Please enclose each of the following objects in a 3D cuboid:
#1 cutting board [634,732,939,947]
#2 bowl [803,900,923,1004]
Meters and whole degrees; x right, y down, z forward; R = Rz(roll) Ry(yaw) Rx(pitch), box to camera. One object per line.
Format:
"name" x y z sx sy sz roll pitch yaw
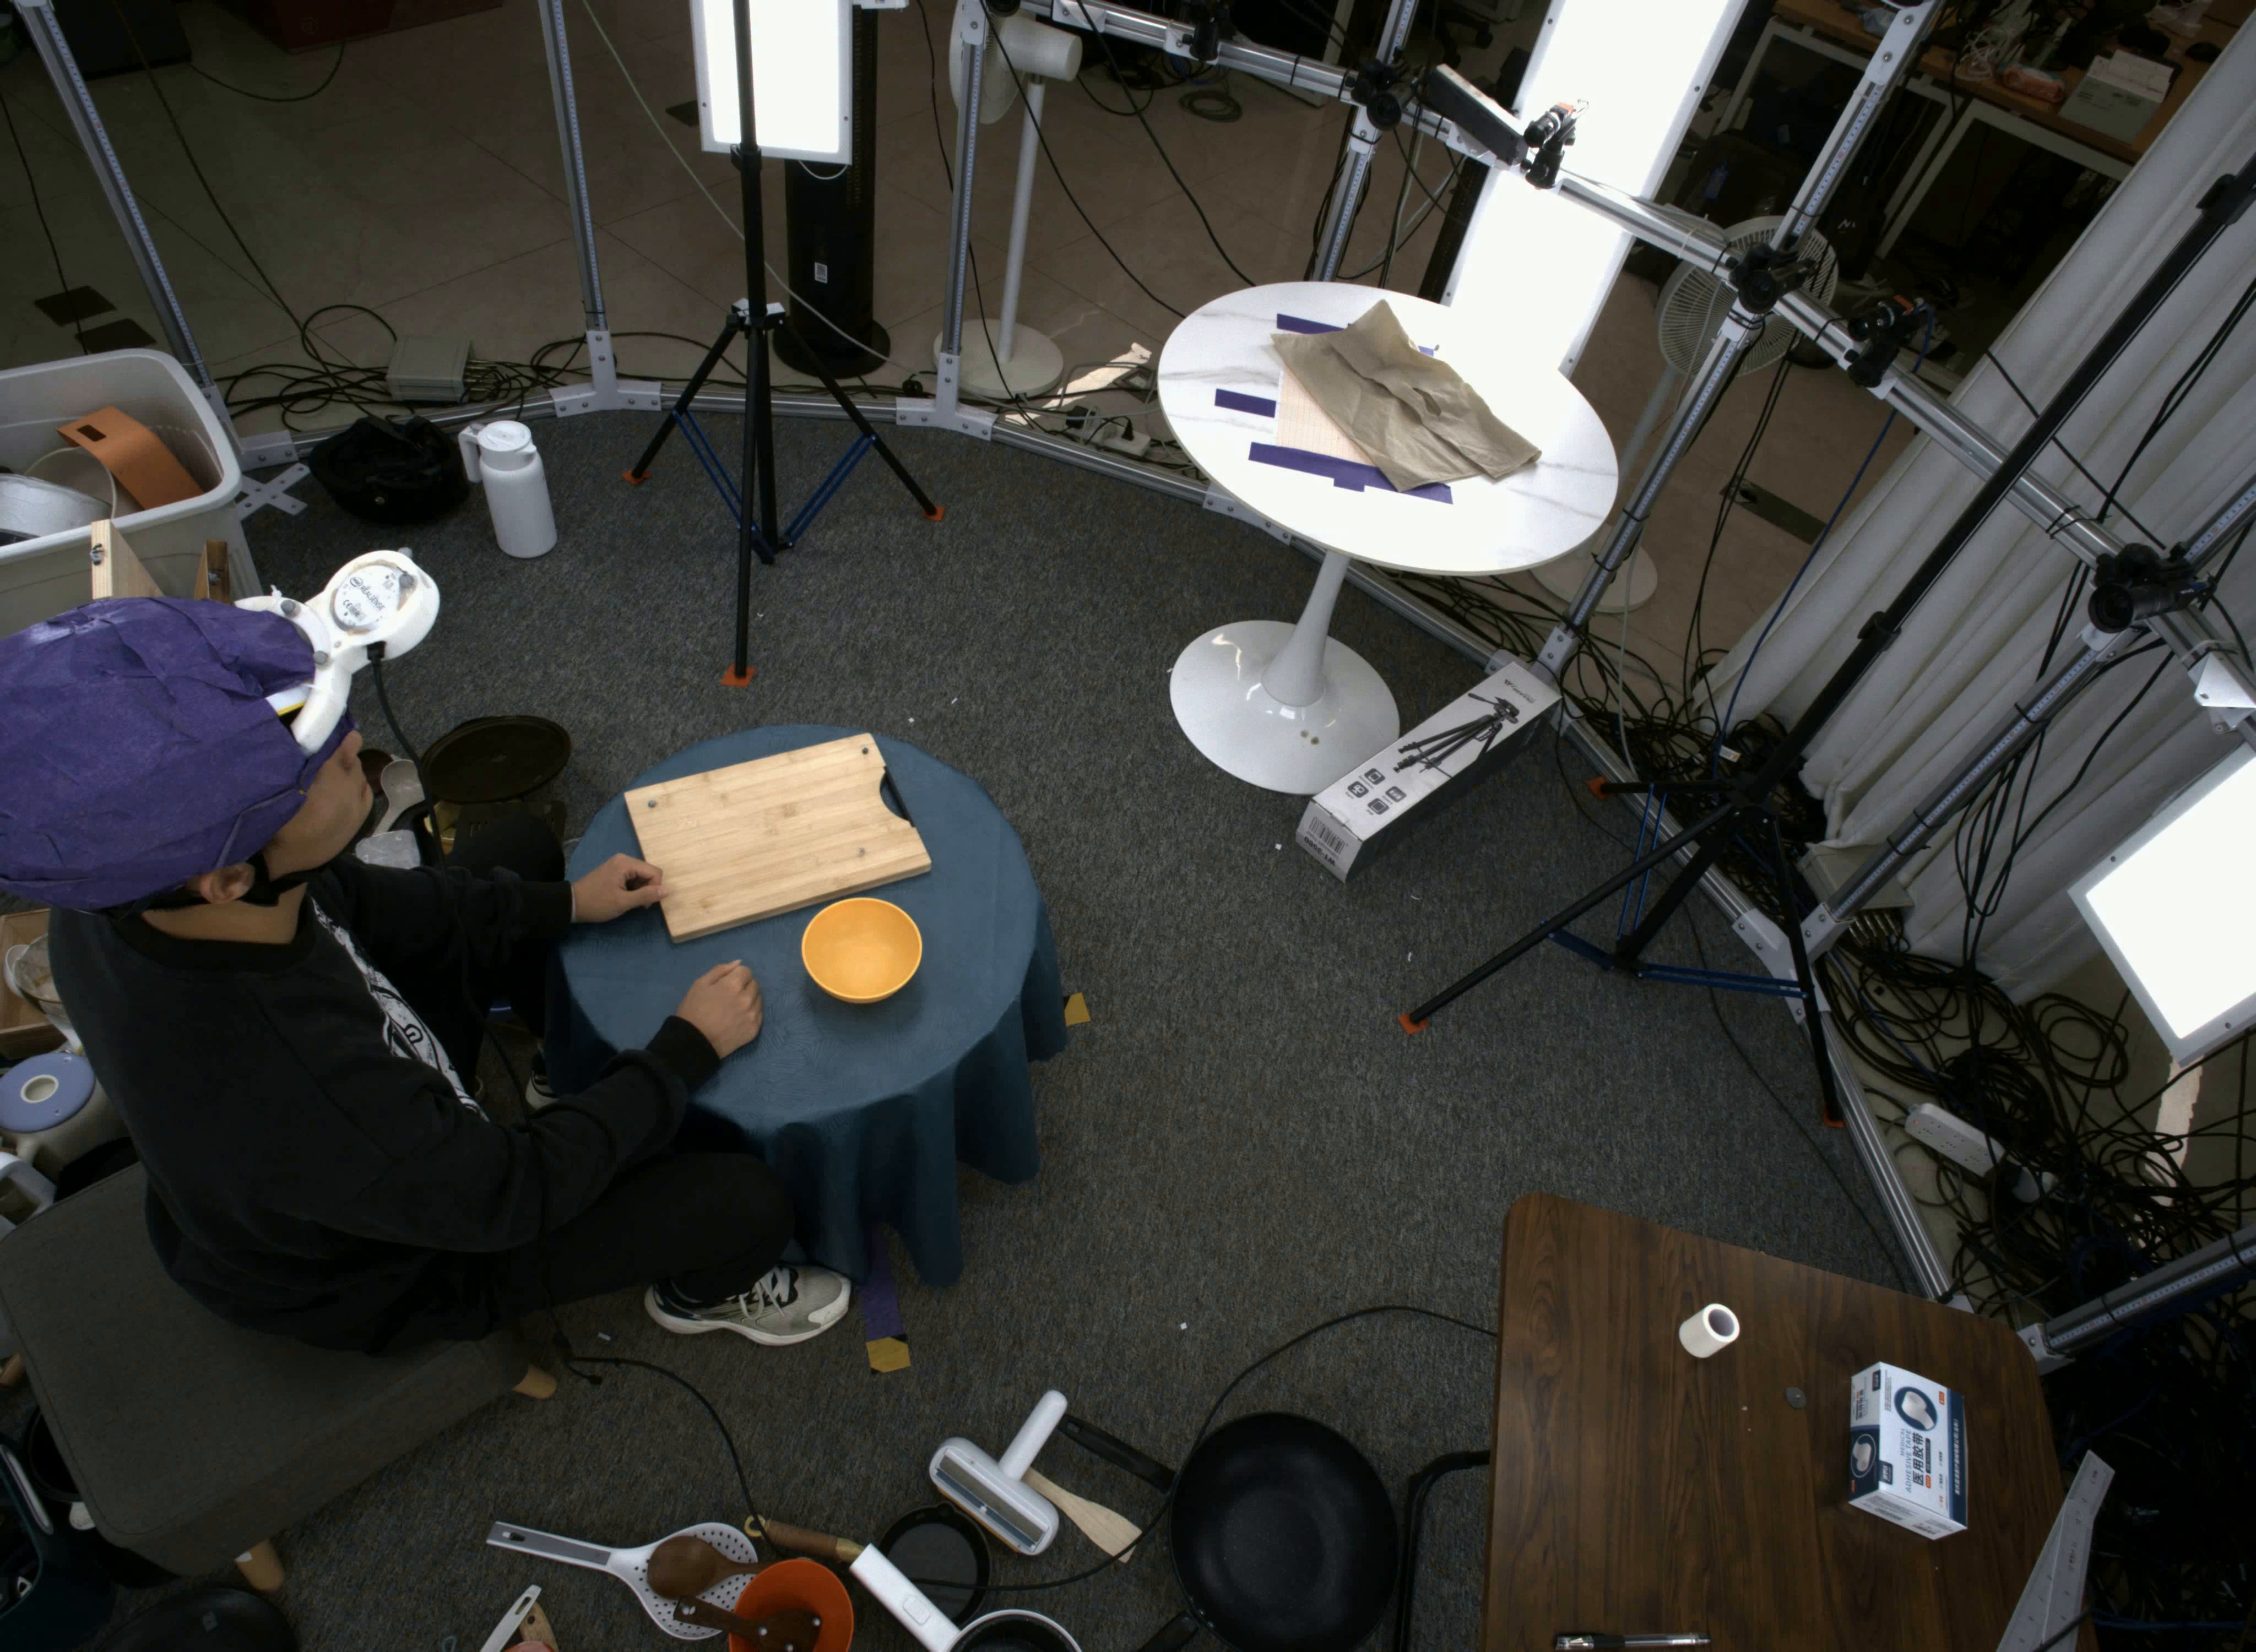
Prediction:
"cutting board" -0.454 0.007 1.706 0.350 0.024 0.244 -18 61 -25
"bowl" -0.324 0.164 1.597 0.144 0.061 0.142 6 51 -6
